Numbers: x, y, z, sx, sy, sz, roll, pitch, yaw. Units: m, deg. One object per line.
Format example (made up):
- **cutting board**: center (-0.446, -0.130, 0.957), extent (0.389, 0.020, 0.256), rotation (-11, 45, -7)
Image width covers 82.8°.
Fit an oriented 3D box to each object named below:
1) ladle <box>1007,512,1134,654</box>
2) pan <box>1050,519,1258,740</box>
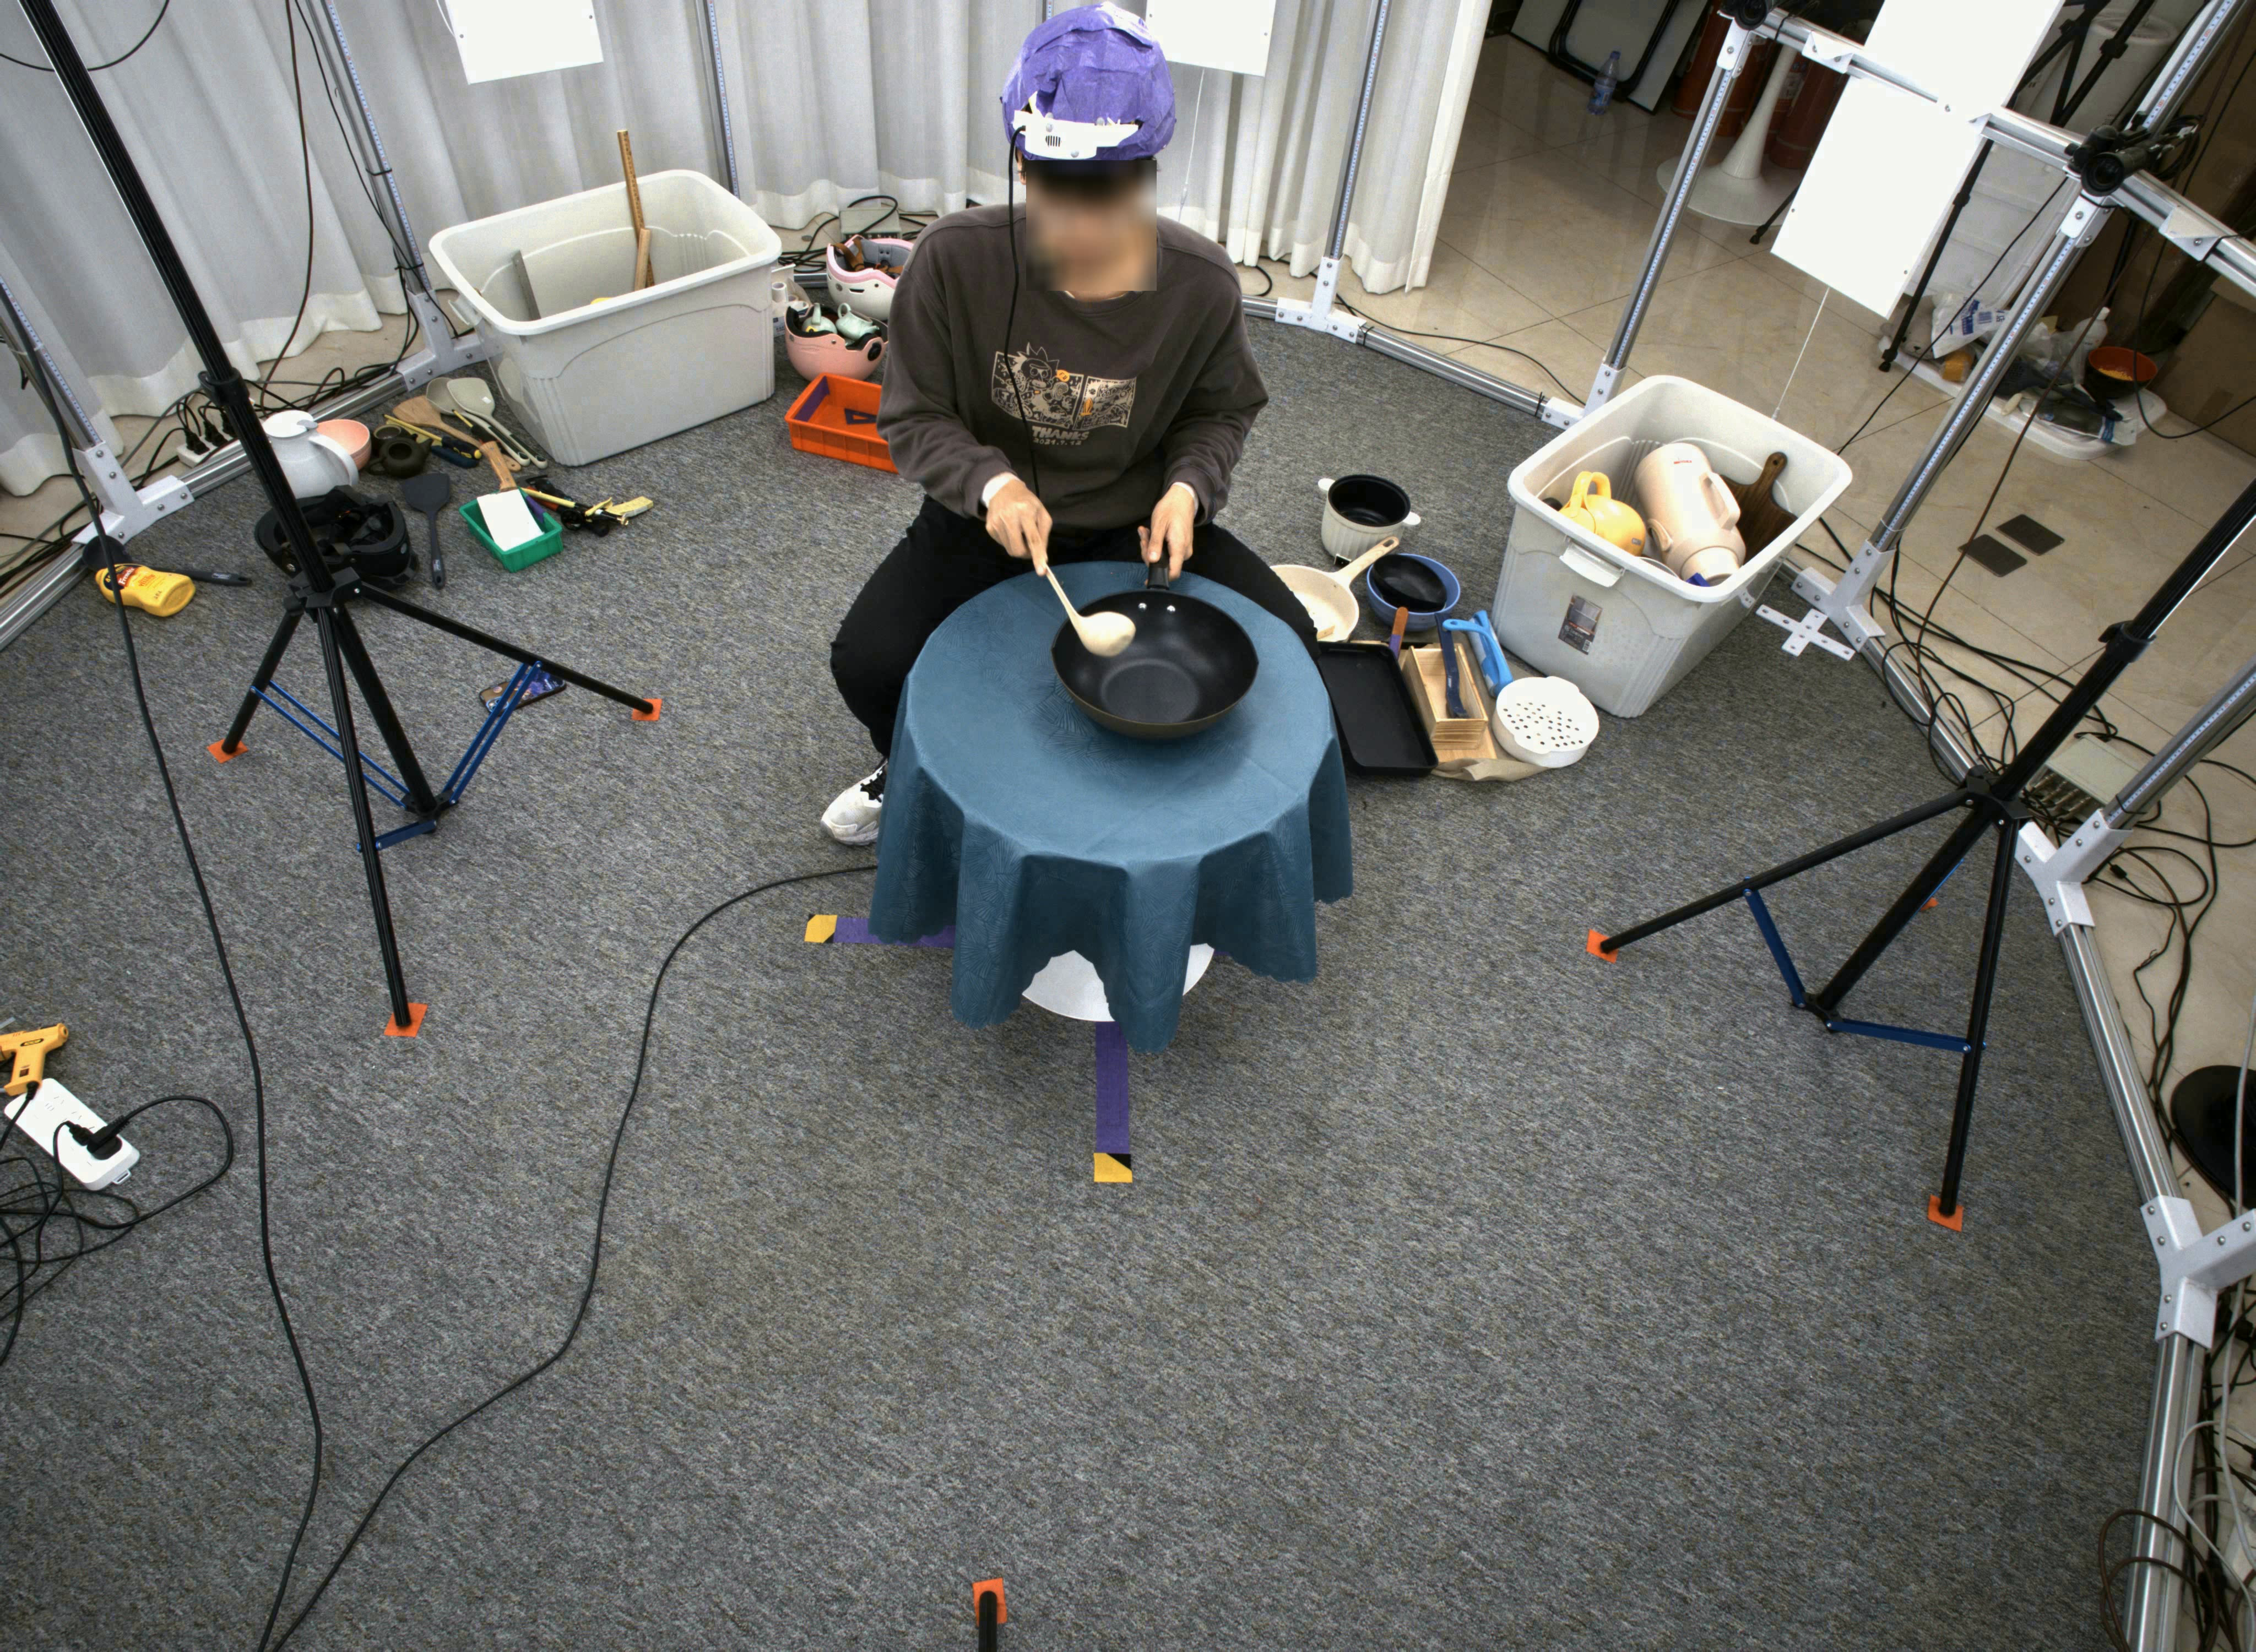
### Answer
- **ladle**: center (-0.078, -0.346, 1.775), extent (0.073, 0.071, 0.259), rotation (-20, 66, -23)
- **pan**: center (0.039, -0.280, 1.860), extent (0.288, 0.085, 0.475), rotation (4, 47, 0)
